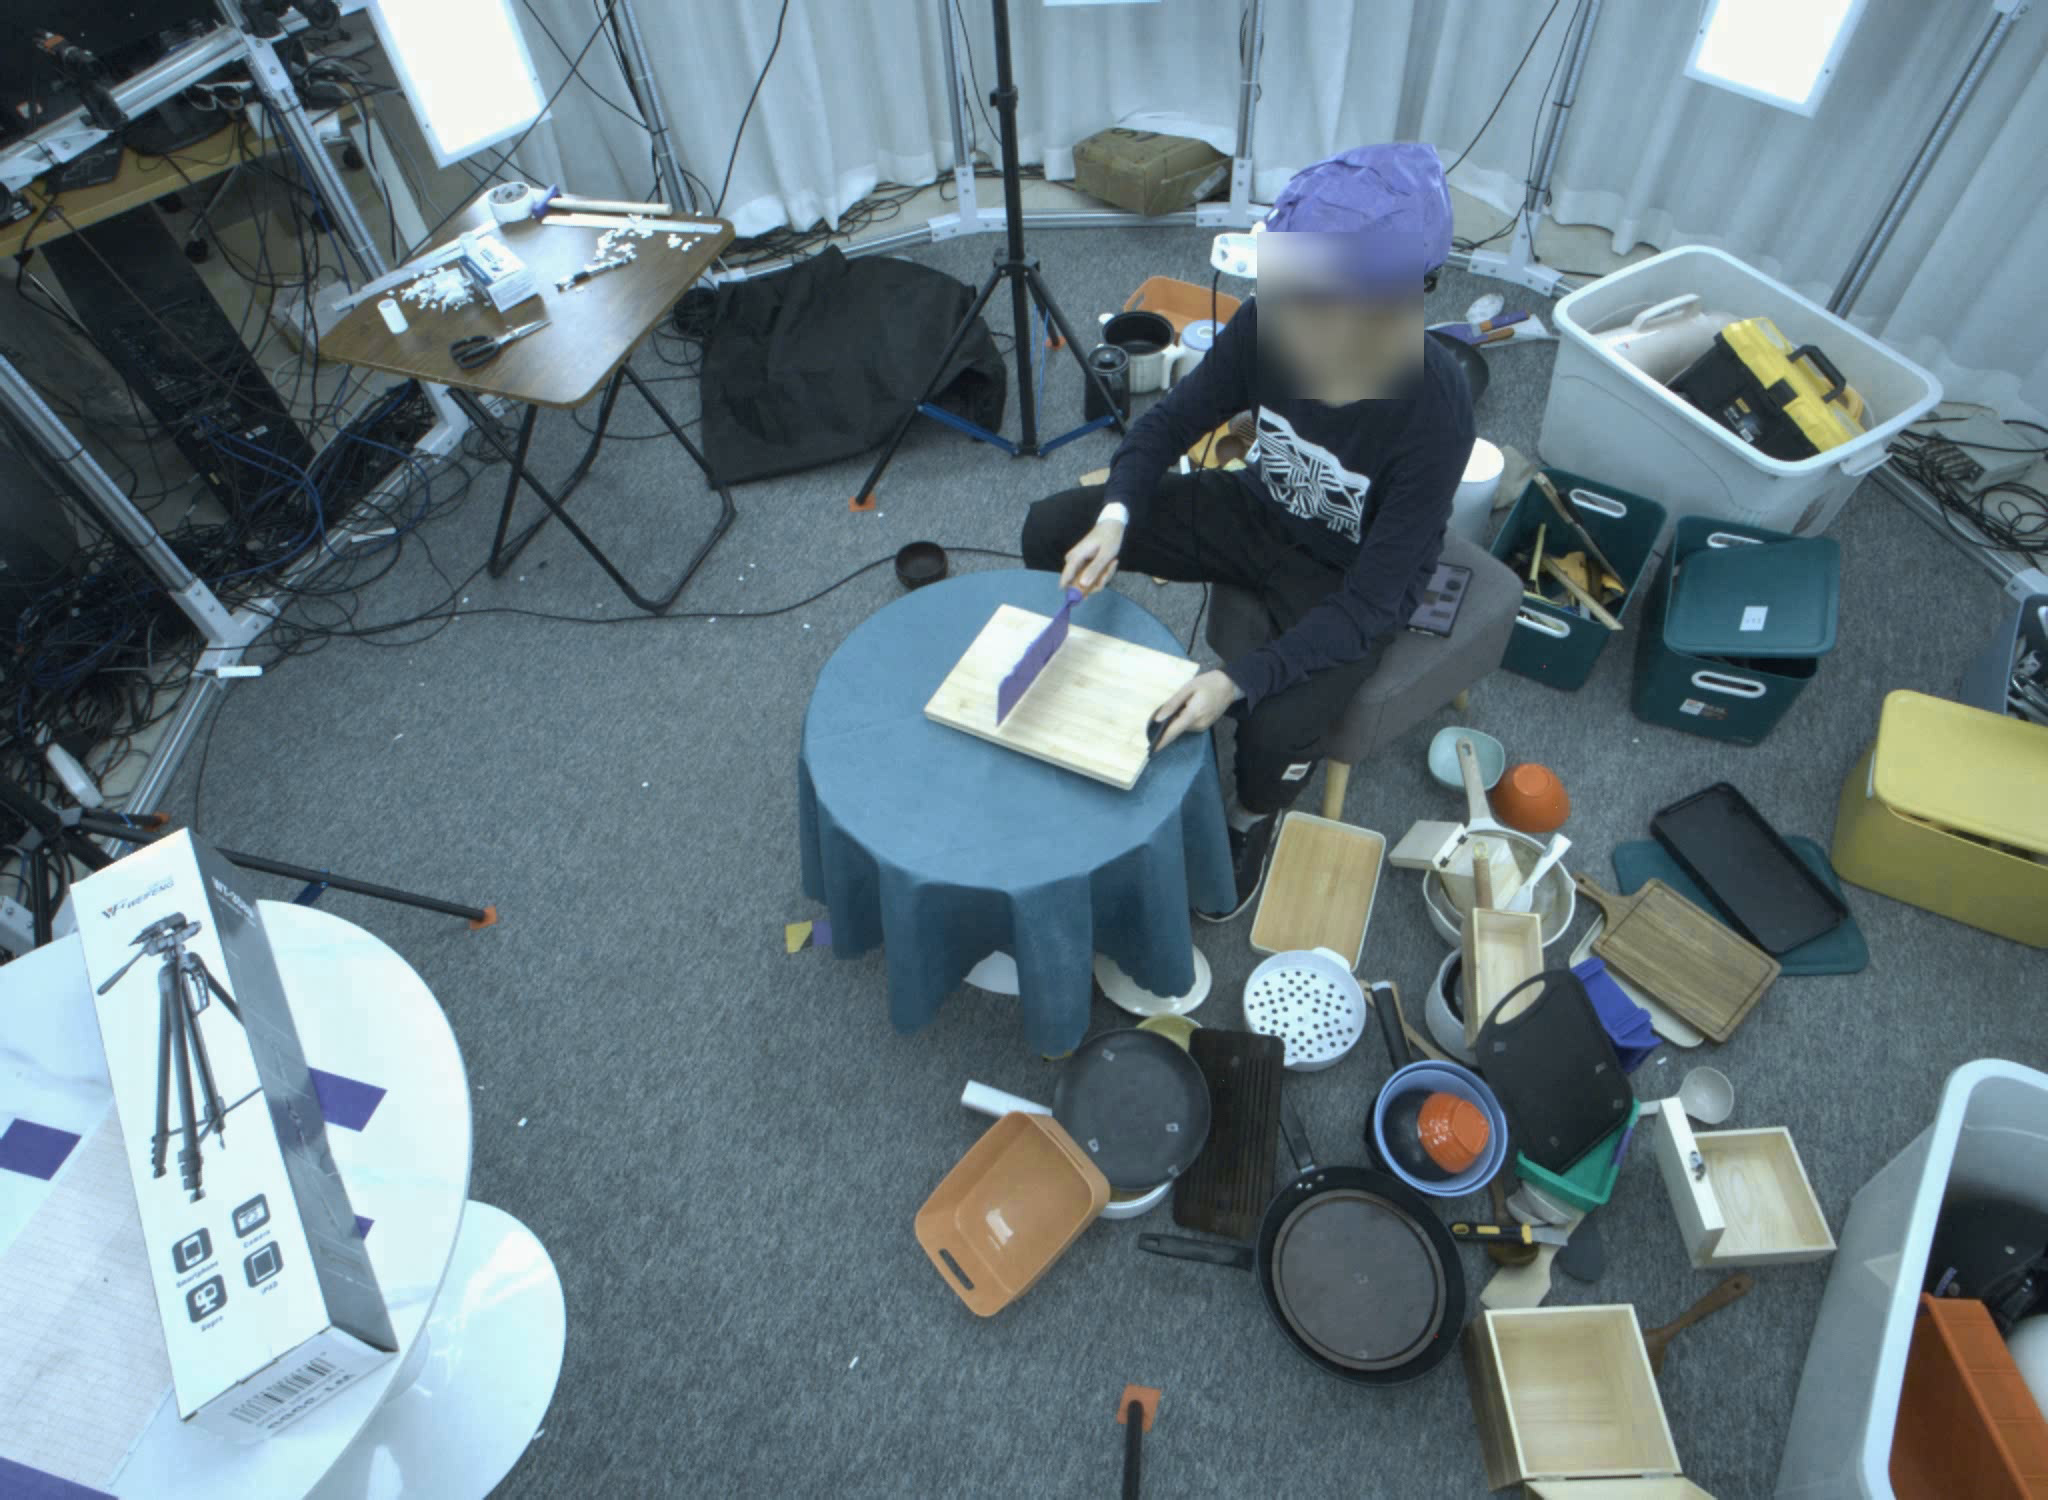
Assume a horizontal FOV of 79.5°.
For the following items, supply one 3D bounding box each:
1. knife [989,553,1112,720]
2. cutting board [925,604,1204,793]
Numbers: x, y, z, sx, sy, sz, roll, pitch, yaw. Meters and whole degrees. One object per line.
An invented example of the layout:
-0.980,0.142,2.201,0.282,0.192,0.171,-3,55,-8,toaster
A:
0.036,-0.169,1.819,0.032,0.104,0.316,30,58,16,knife
0.060,-0.086,1.828,0.343,0.024,0.251,20,57,20,cutting board
